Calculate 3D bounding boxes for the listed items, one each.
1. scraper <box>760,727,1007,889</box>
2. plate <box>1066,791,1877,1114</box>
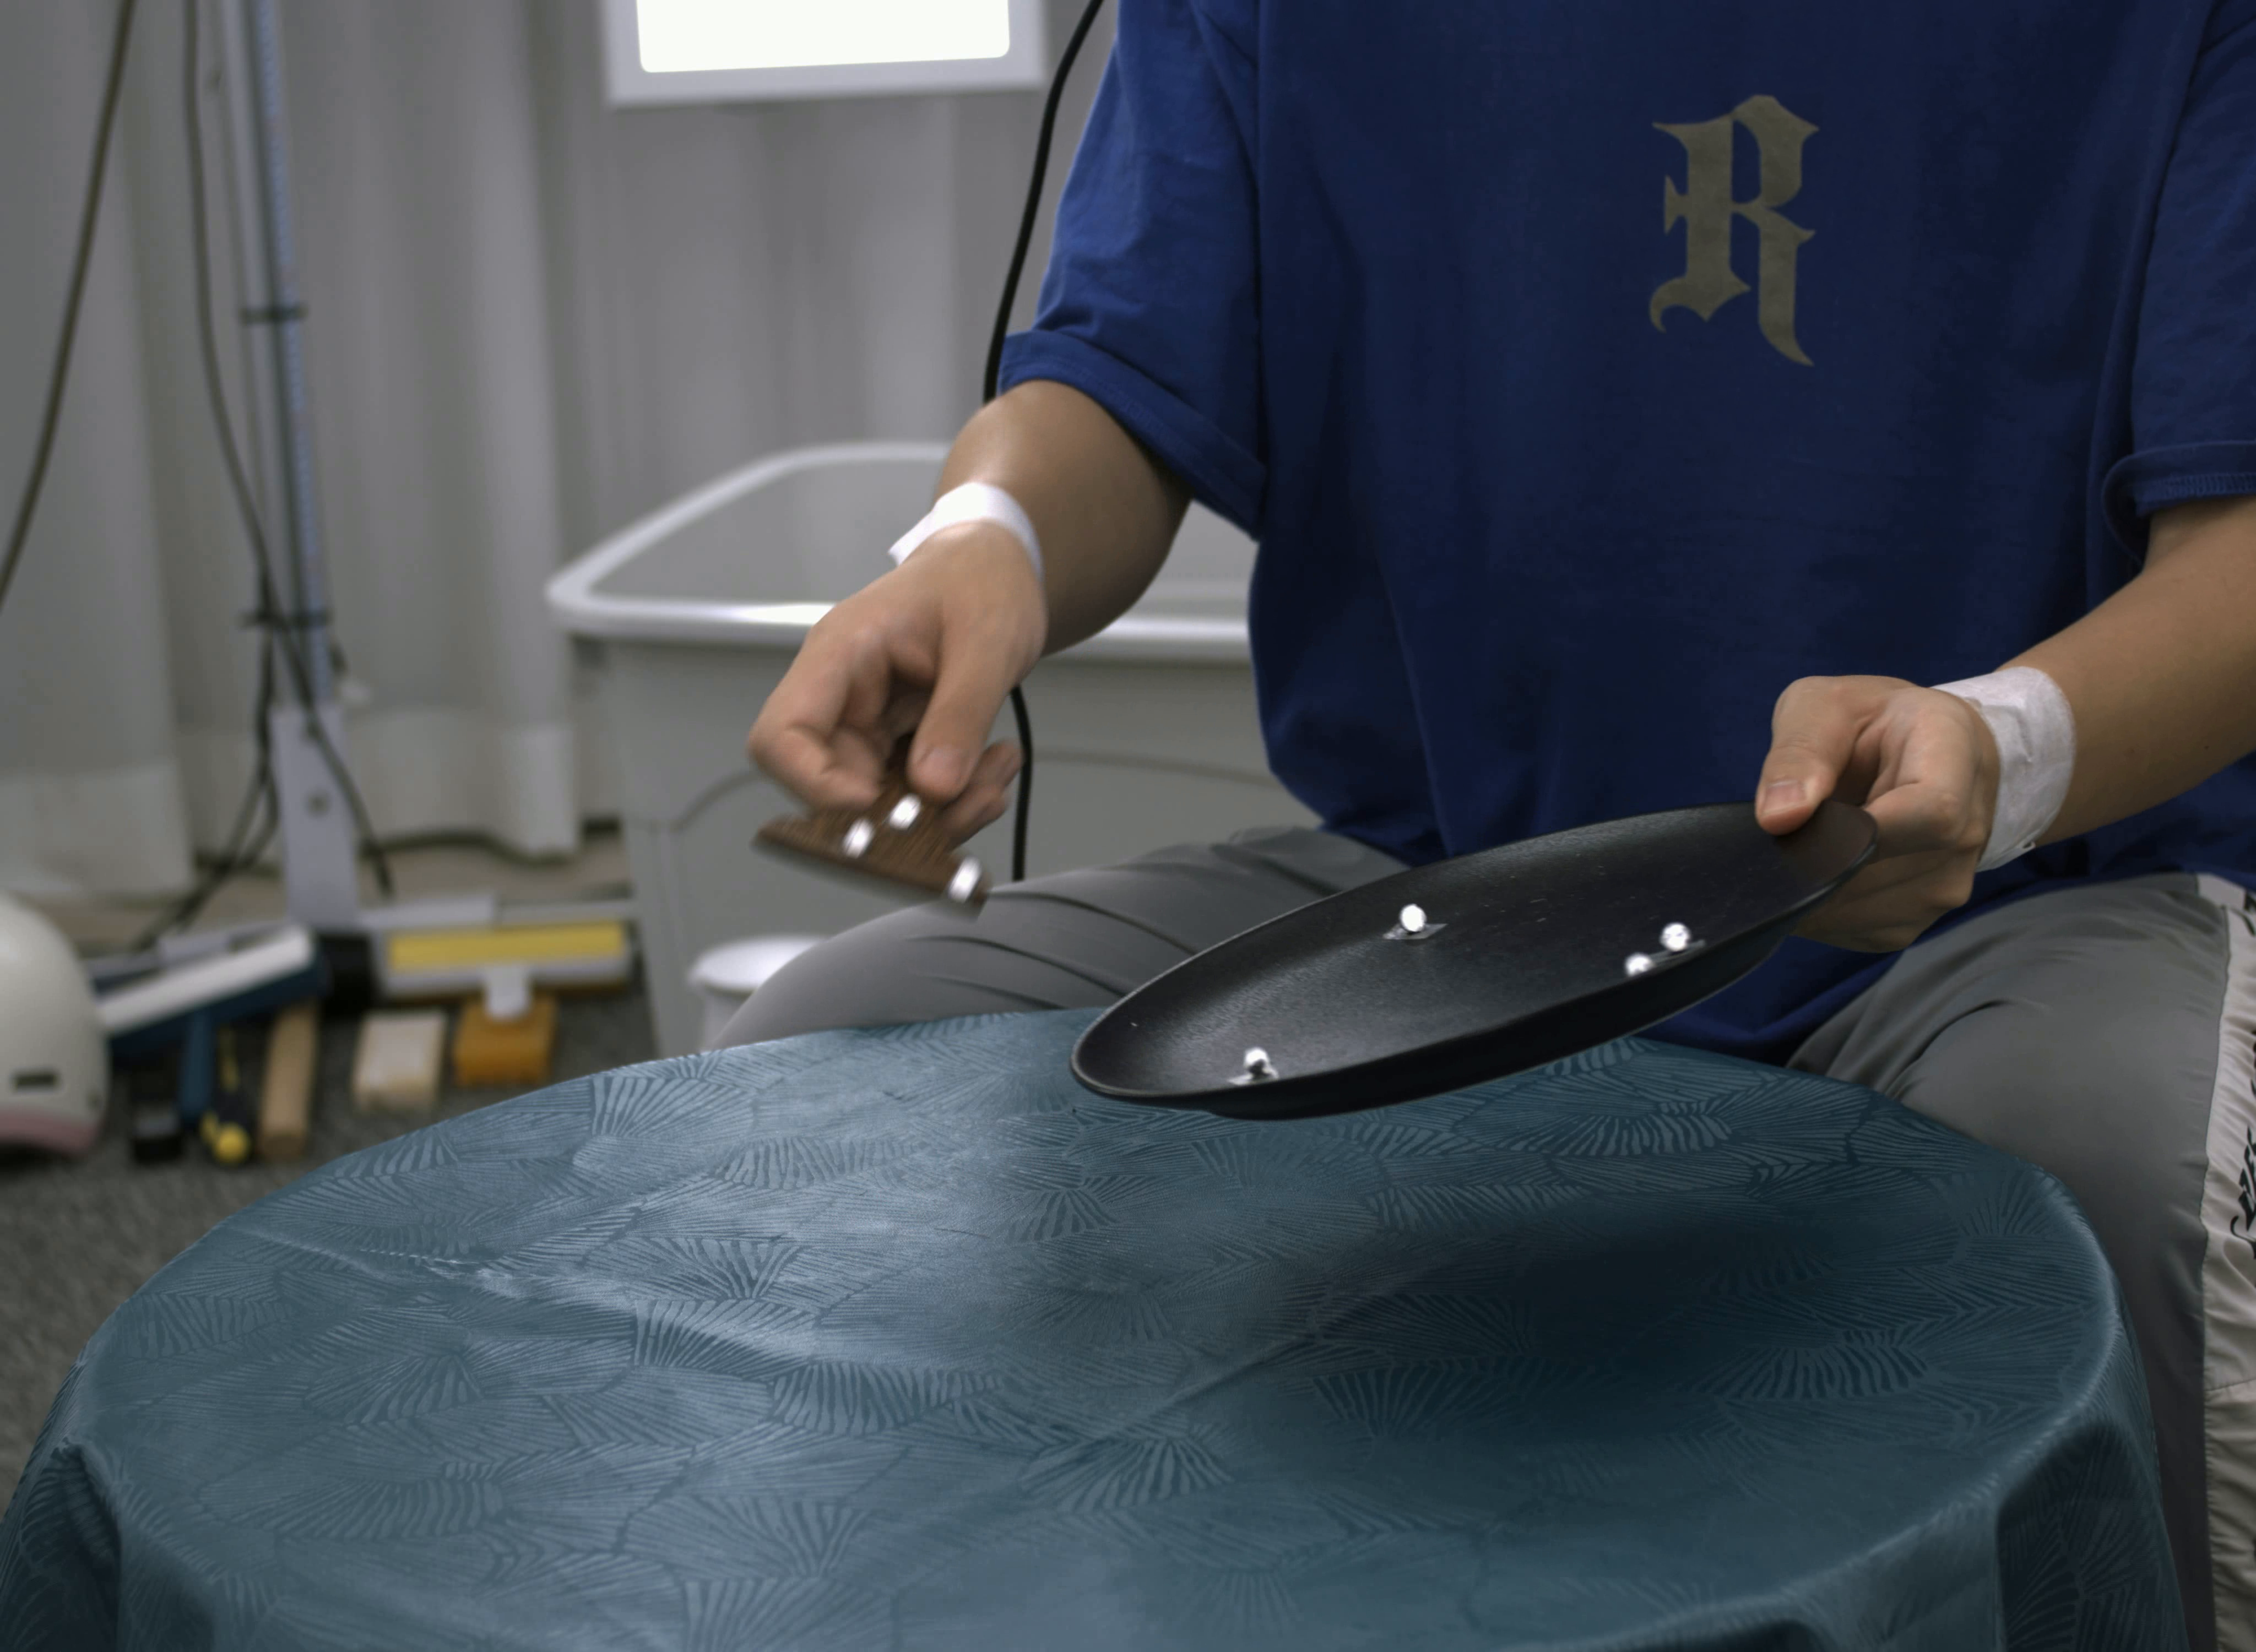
[{"bbox_3d":[-0.066,-0.009,1.727,0.075,0.011,0.212,16,12,2],"label":"scraper"},{"bbox_3d":[0.101,0.040,1.578,0.244,0.023,0.245,-17,10,3],"label":"plate"}]
